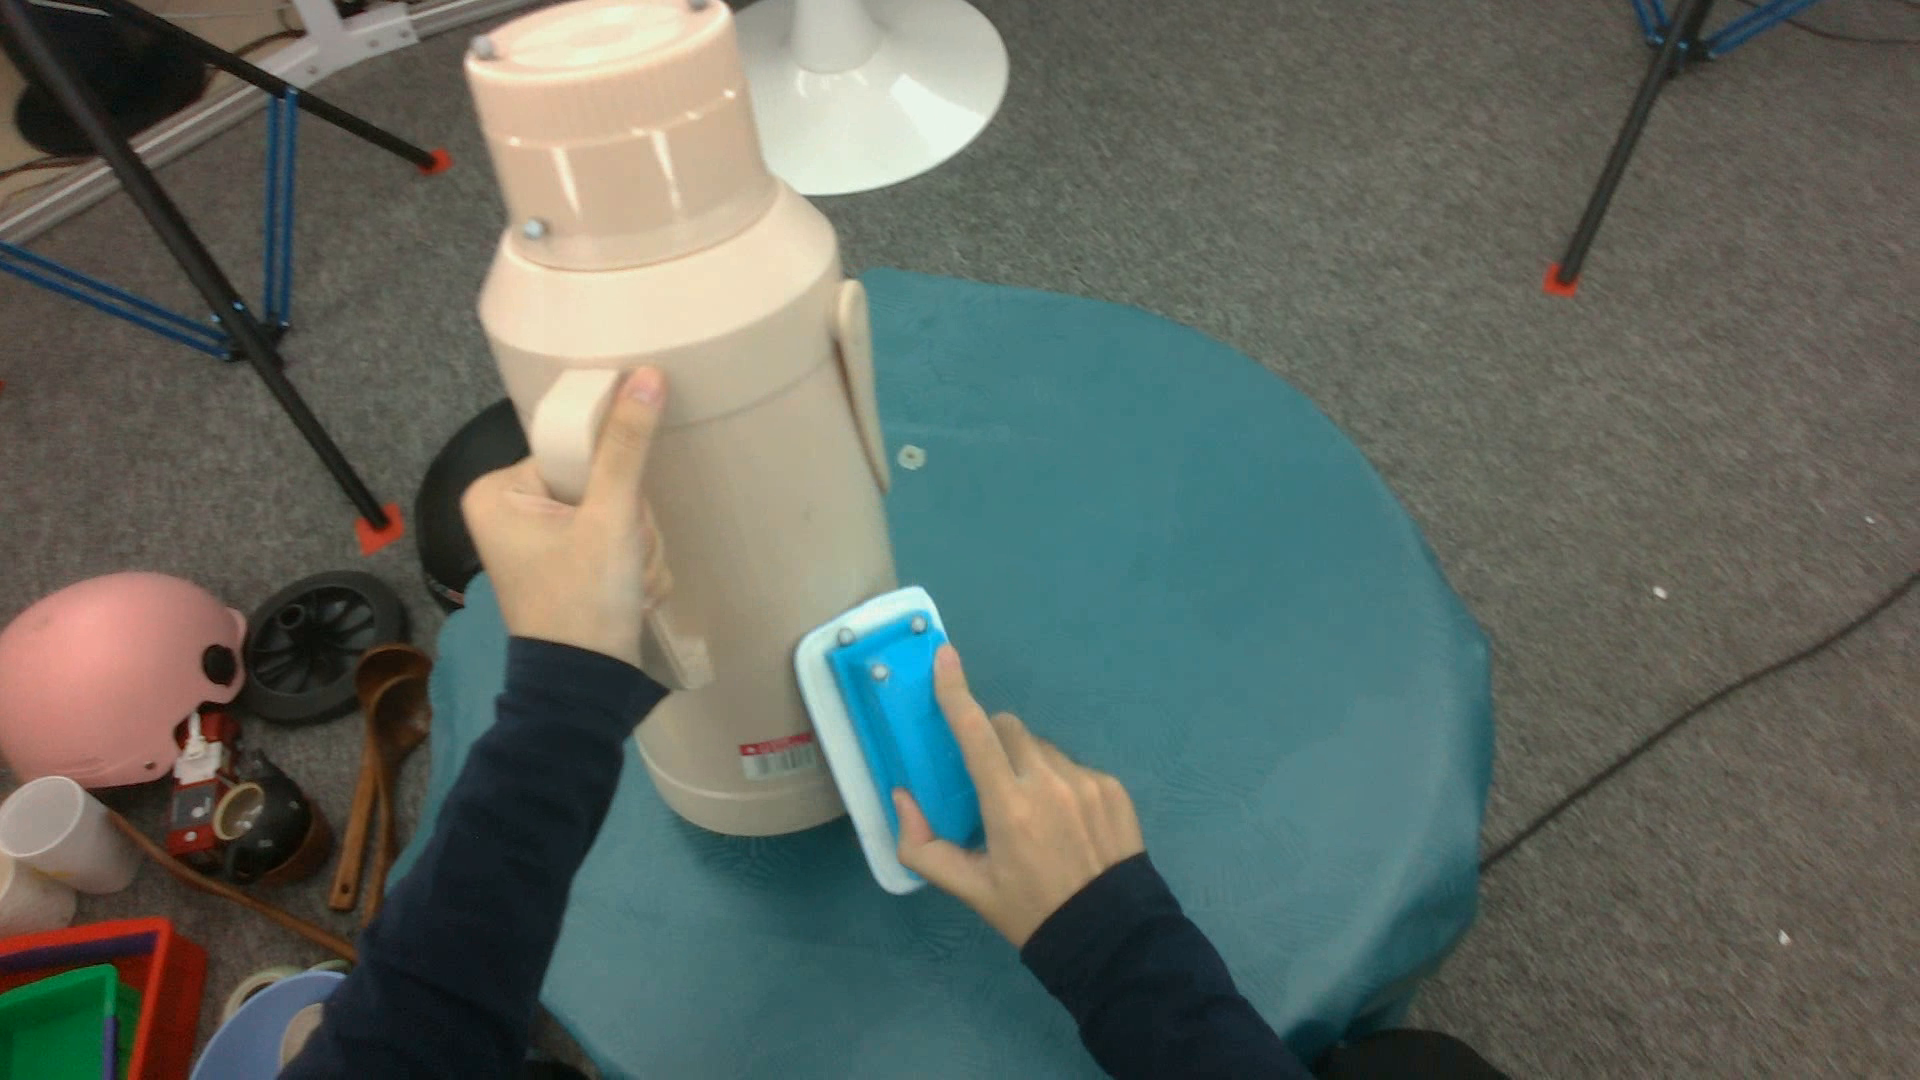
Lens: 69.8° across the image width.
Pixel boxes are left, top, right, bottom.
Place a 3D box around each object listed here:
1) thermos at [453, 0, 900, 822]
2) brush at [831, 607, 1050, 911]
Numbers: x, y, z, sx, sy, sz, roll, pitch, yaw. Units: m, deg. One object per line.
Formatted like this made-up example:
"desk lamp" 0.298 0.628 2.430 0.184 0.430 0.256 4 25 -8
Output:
"thermos" -0.132 -0.038 0.671 0.175 0.404 0.208 2 40 12
"brush" -0.005 0.109 0.680 0.084 0.056 0.144 -21 93 -20
